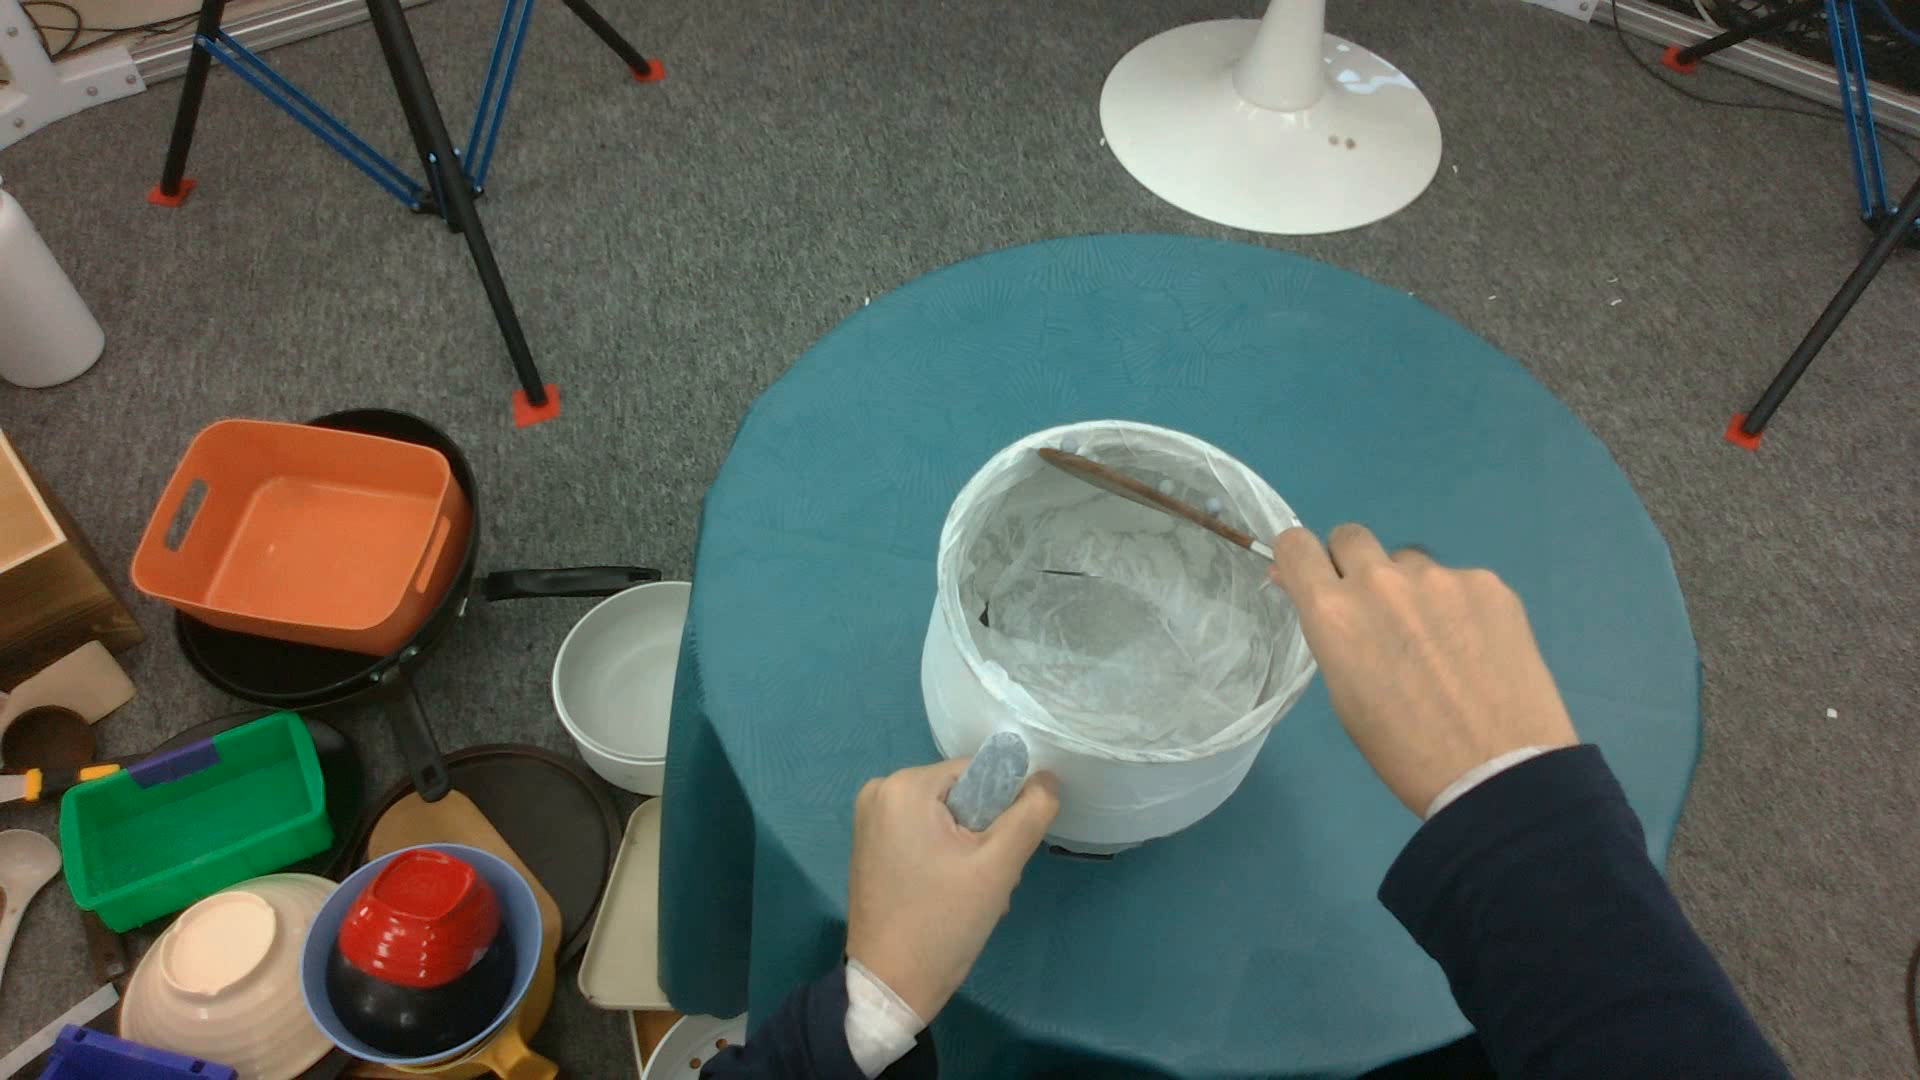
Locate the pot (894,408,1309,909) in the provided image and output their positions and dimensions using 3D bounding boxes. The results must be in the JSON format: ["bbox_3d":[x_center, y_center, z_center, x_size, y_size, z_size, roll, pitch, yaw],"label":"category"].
[{"bbox_3d":[0.049,0.064,0.654,0.179,0.136,0.235,30,58,14],"label":"pot"}]

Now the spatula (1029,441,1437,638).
[{"bbox_3d":[0.109,-0.004,0.592,0.216,0.072,0.009,30,97,43],"label":"spatula"}]
